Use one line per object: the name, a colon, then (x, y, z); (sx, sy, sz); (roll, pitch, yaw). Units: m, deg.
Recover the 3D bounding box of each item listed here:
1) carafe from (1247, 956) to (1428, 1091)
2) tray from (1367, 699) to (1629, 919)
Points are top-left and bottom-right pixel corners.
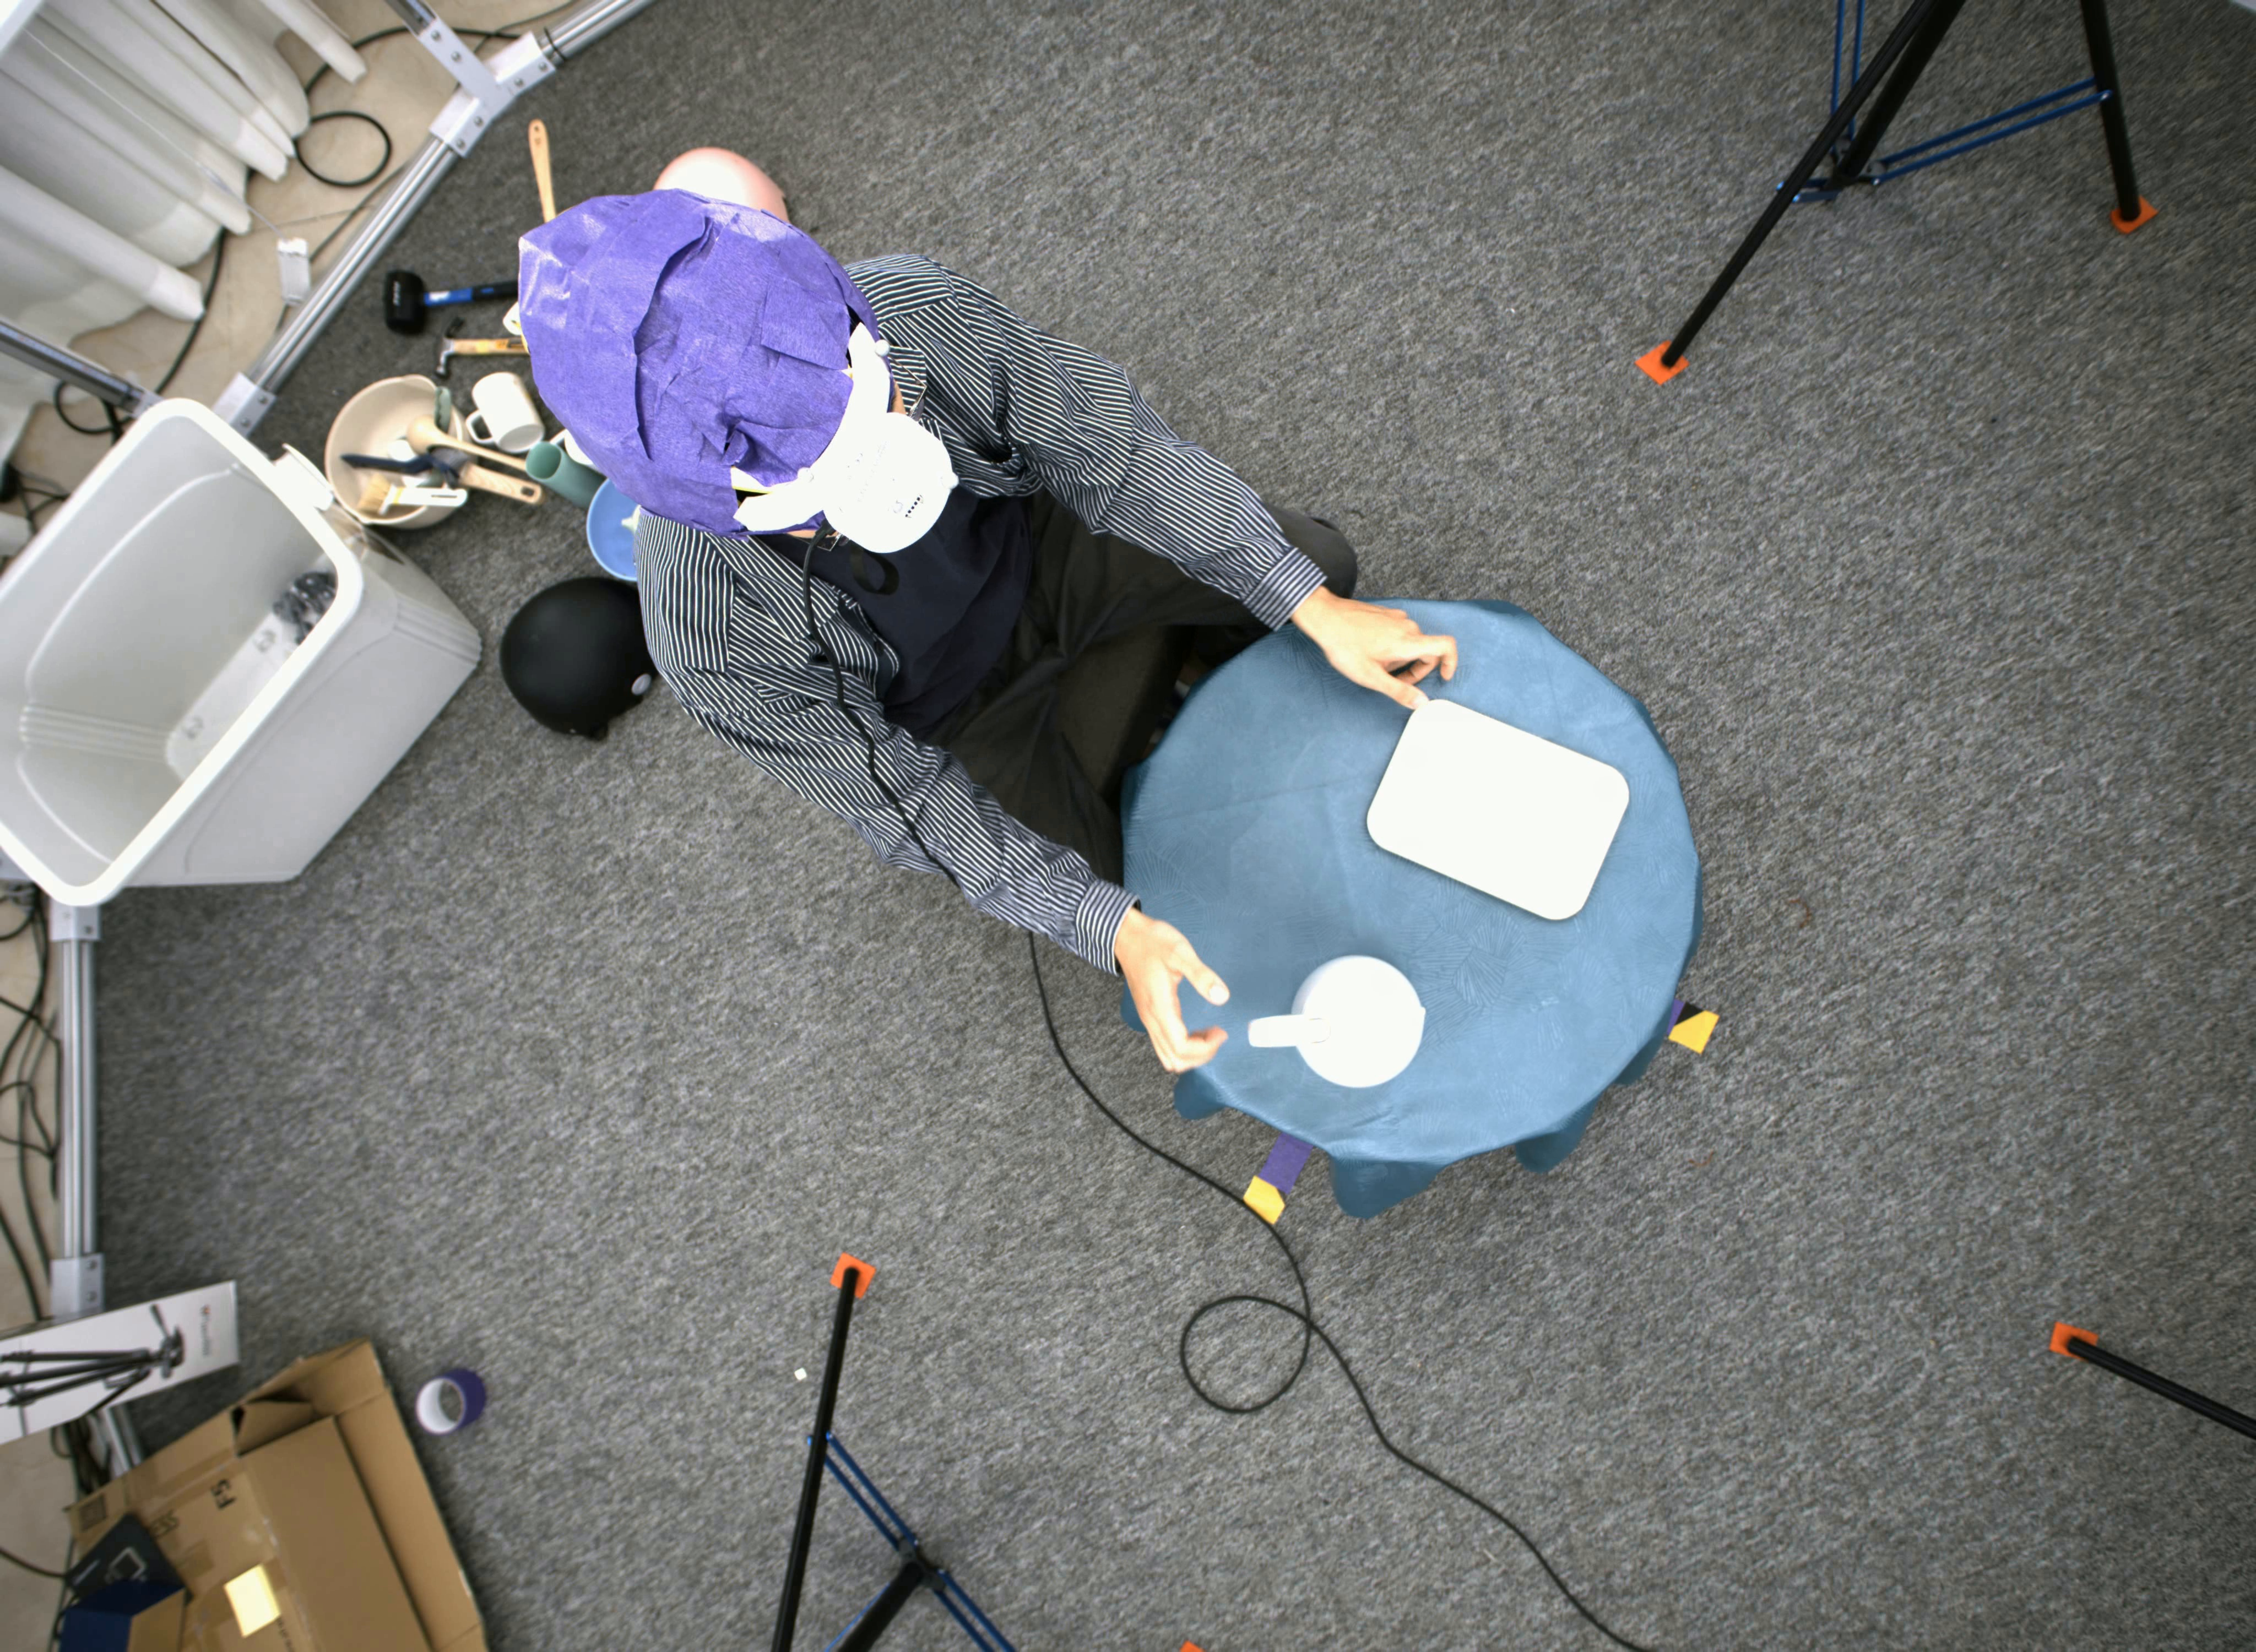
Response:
carafe: (0.200, 0.194, 1.328); (0.168, 0.248, 0.132); (-11, 84, 9)
tray: (0.381, -0.020, 1.423); (0.239, 0.017, 0.171); (24, 92, 10)
